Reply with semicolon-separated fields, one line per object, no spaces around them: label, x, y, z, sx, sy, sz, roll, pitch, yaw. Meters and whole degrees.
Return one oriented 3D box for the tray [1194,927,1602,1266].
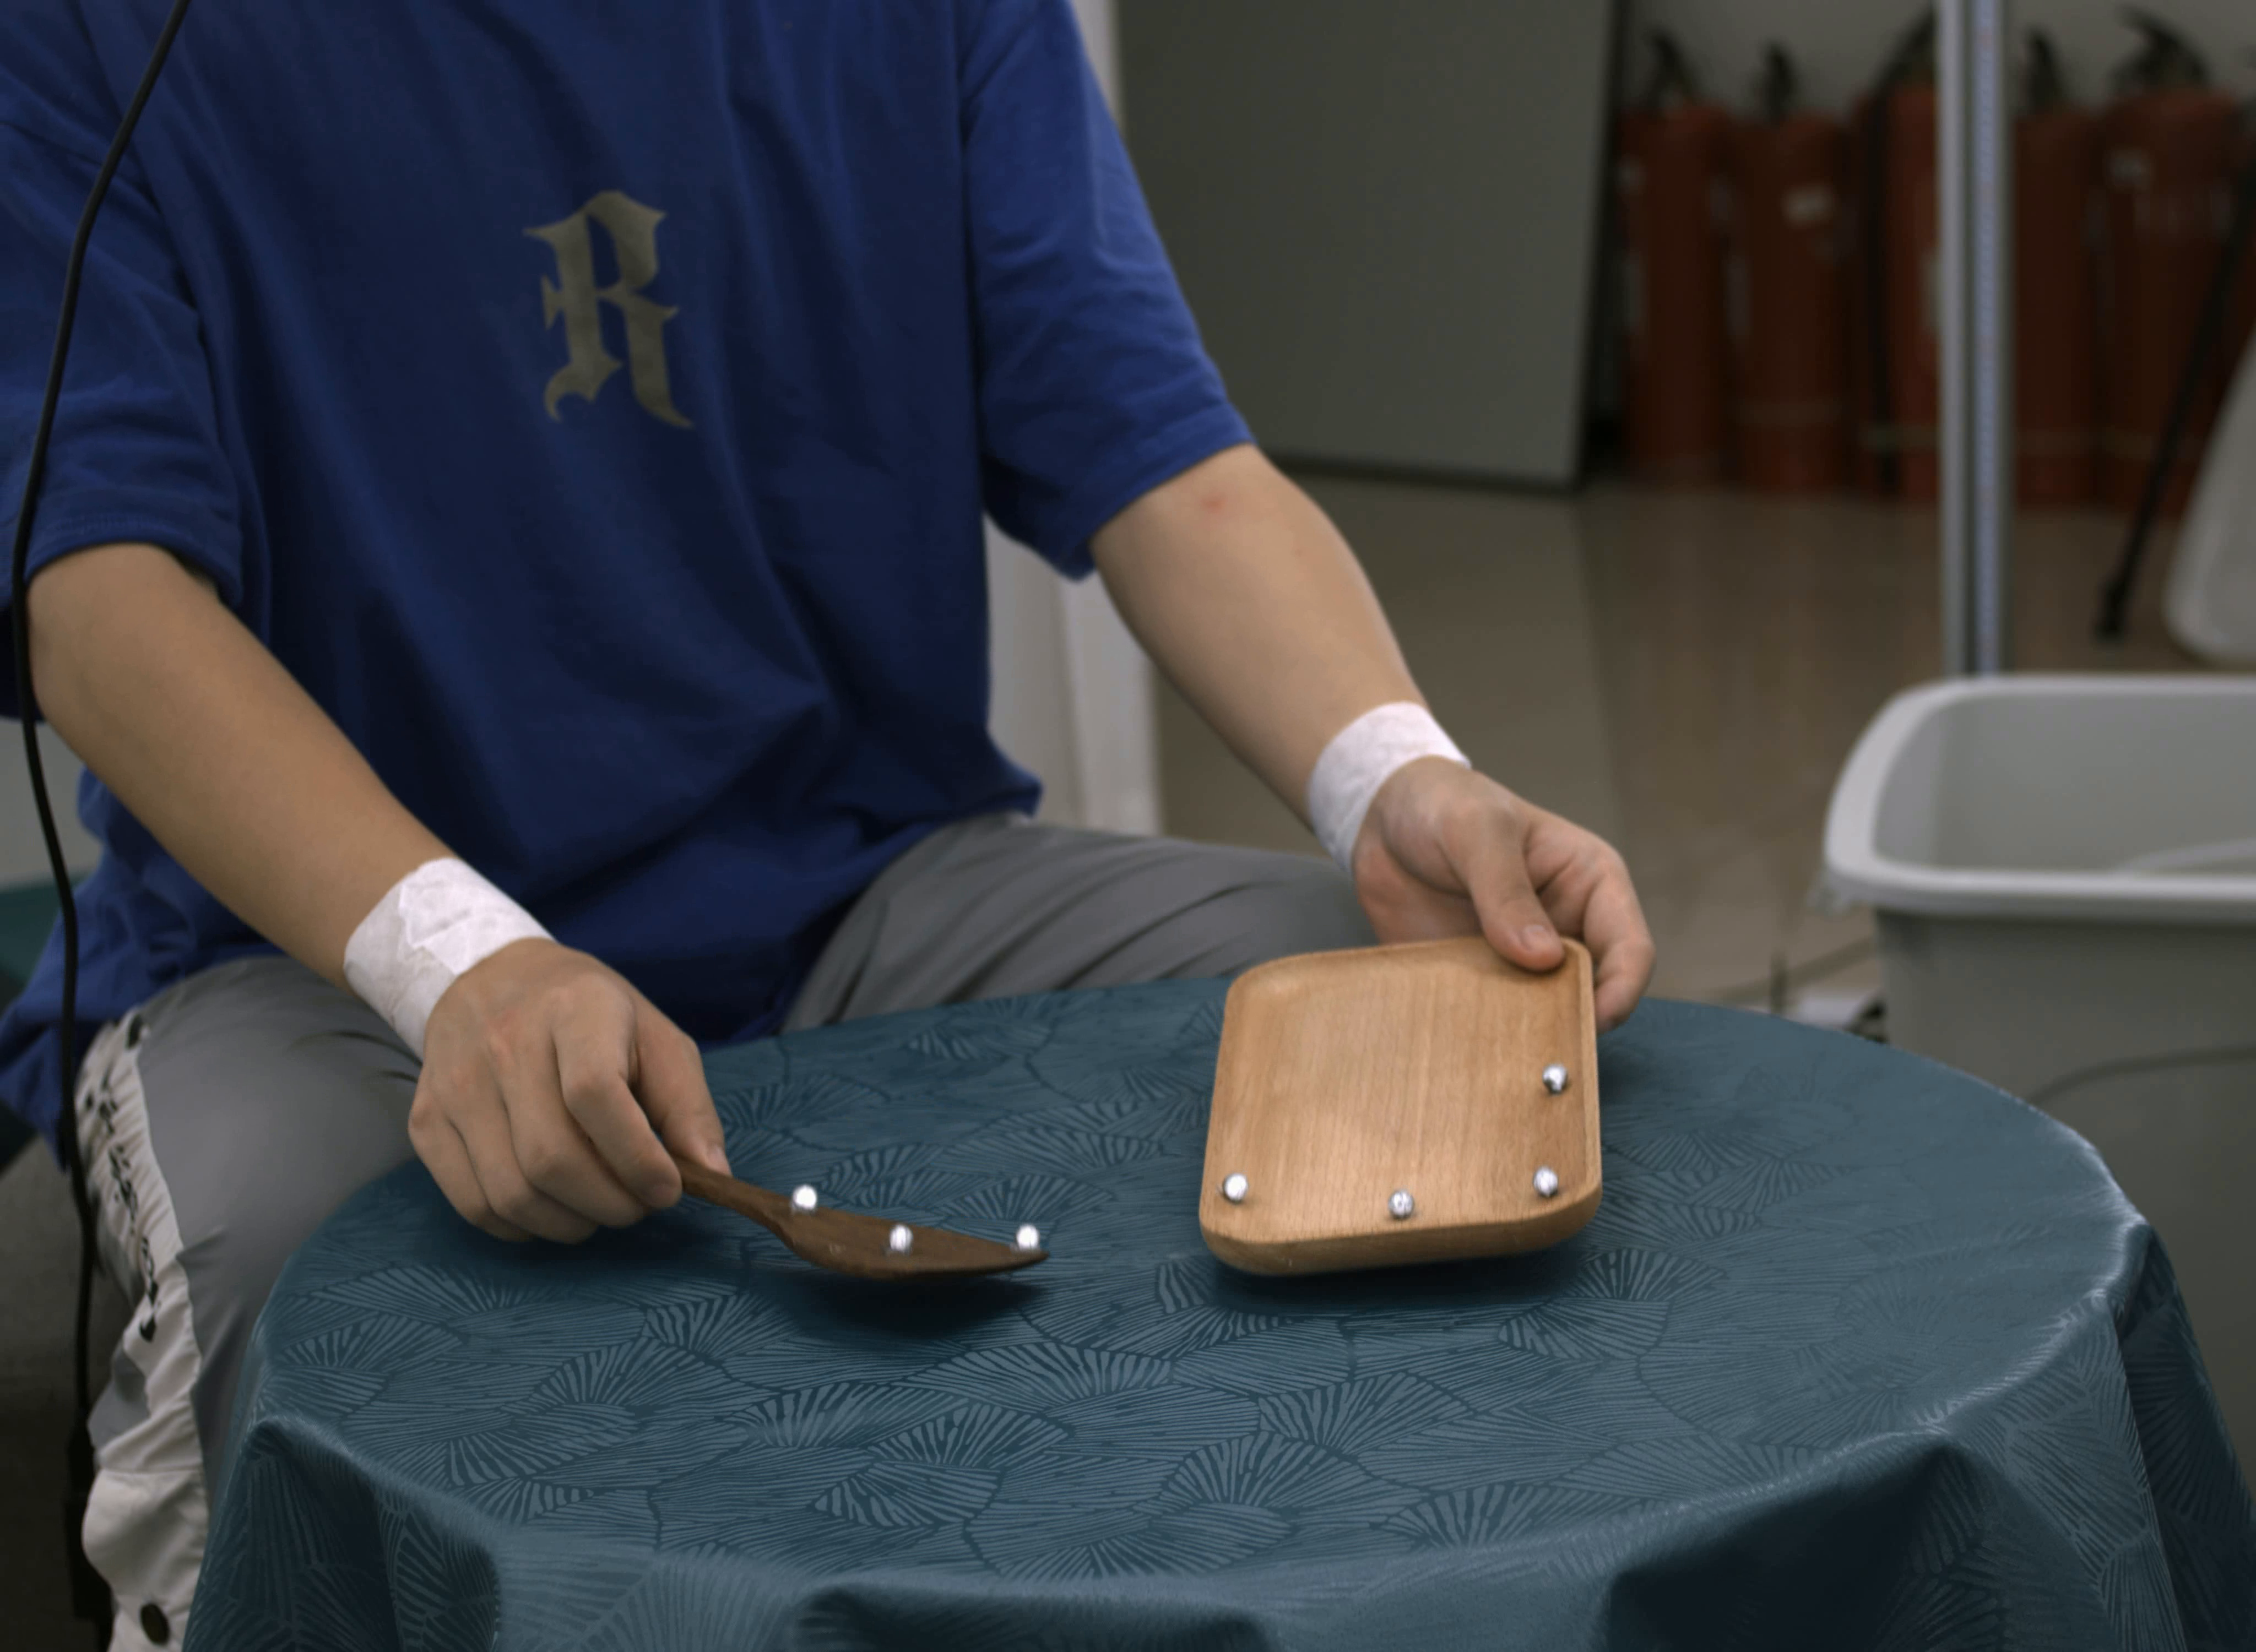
tray;0.091;0.086;1.756;0.129;0.023;0.250;-4;18;7

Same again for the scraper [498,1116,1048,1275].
scraper;-0.121;0.117;1.716;0.213;0.011;0.074;14;8;39
